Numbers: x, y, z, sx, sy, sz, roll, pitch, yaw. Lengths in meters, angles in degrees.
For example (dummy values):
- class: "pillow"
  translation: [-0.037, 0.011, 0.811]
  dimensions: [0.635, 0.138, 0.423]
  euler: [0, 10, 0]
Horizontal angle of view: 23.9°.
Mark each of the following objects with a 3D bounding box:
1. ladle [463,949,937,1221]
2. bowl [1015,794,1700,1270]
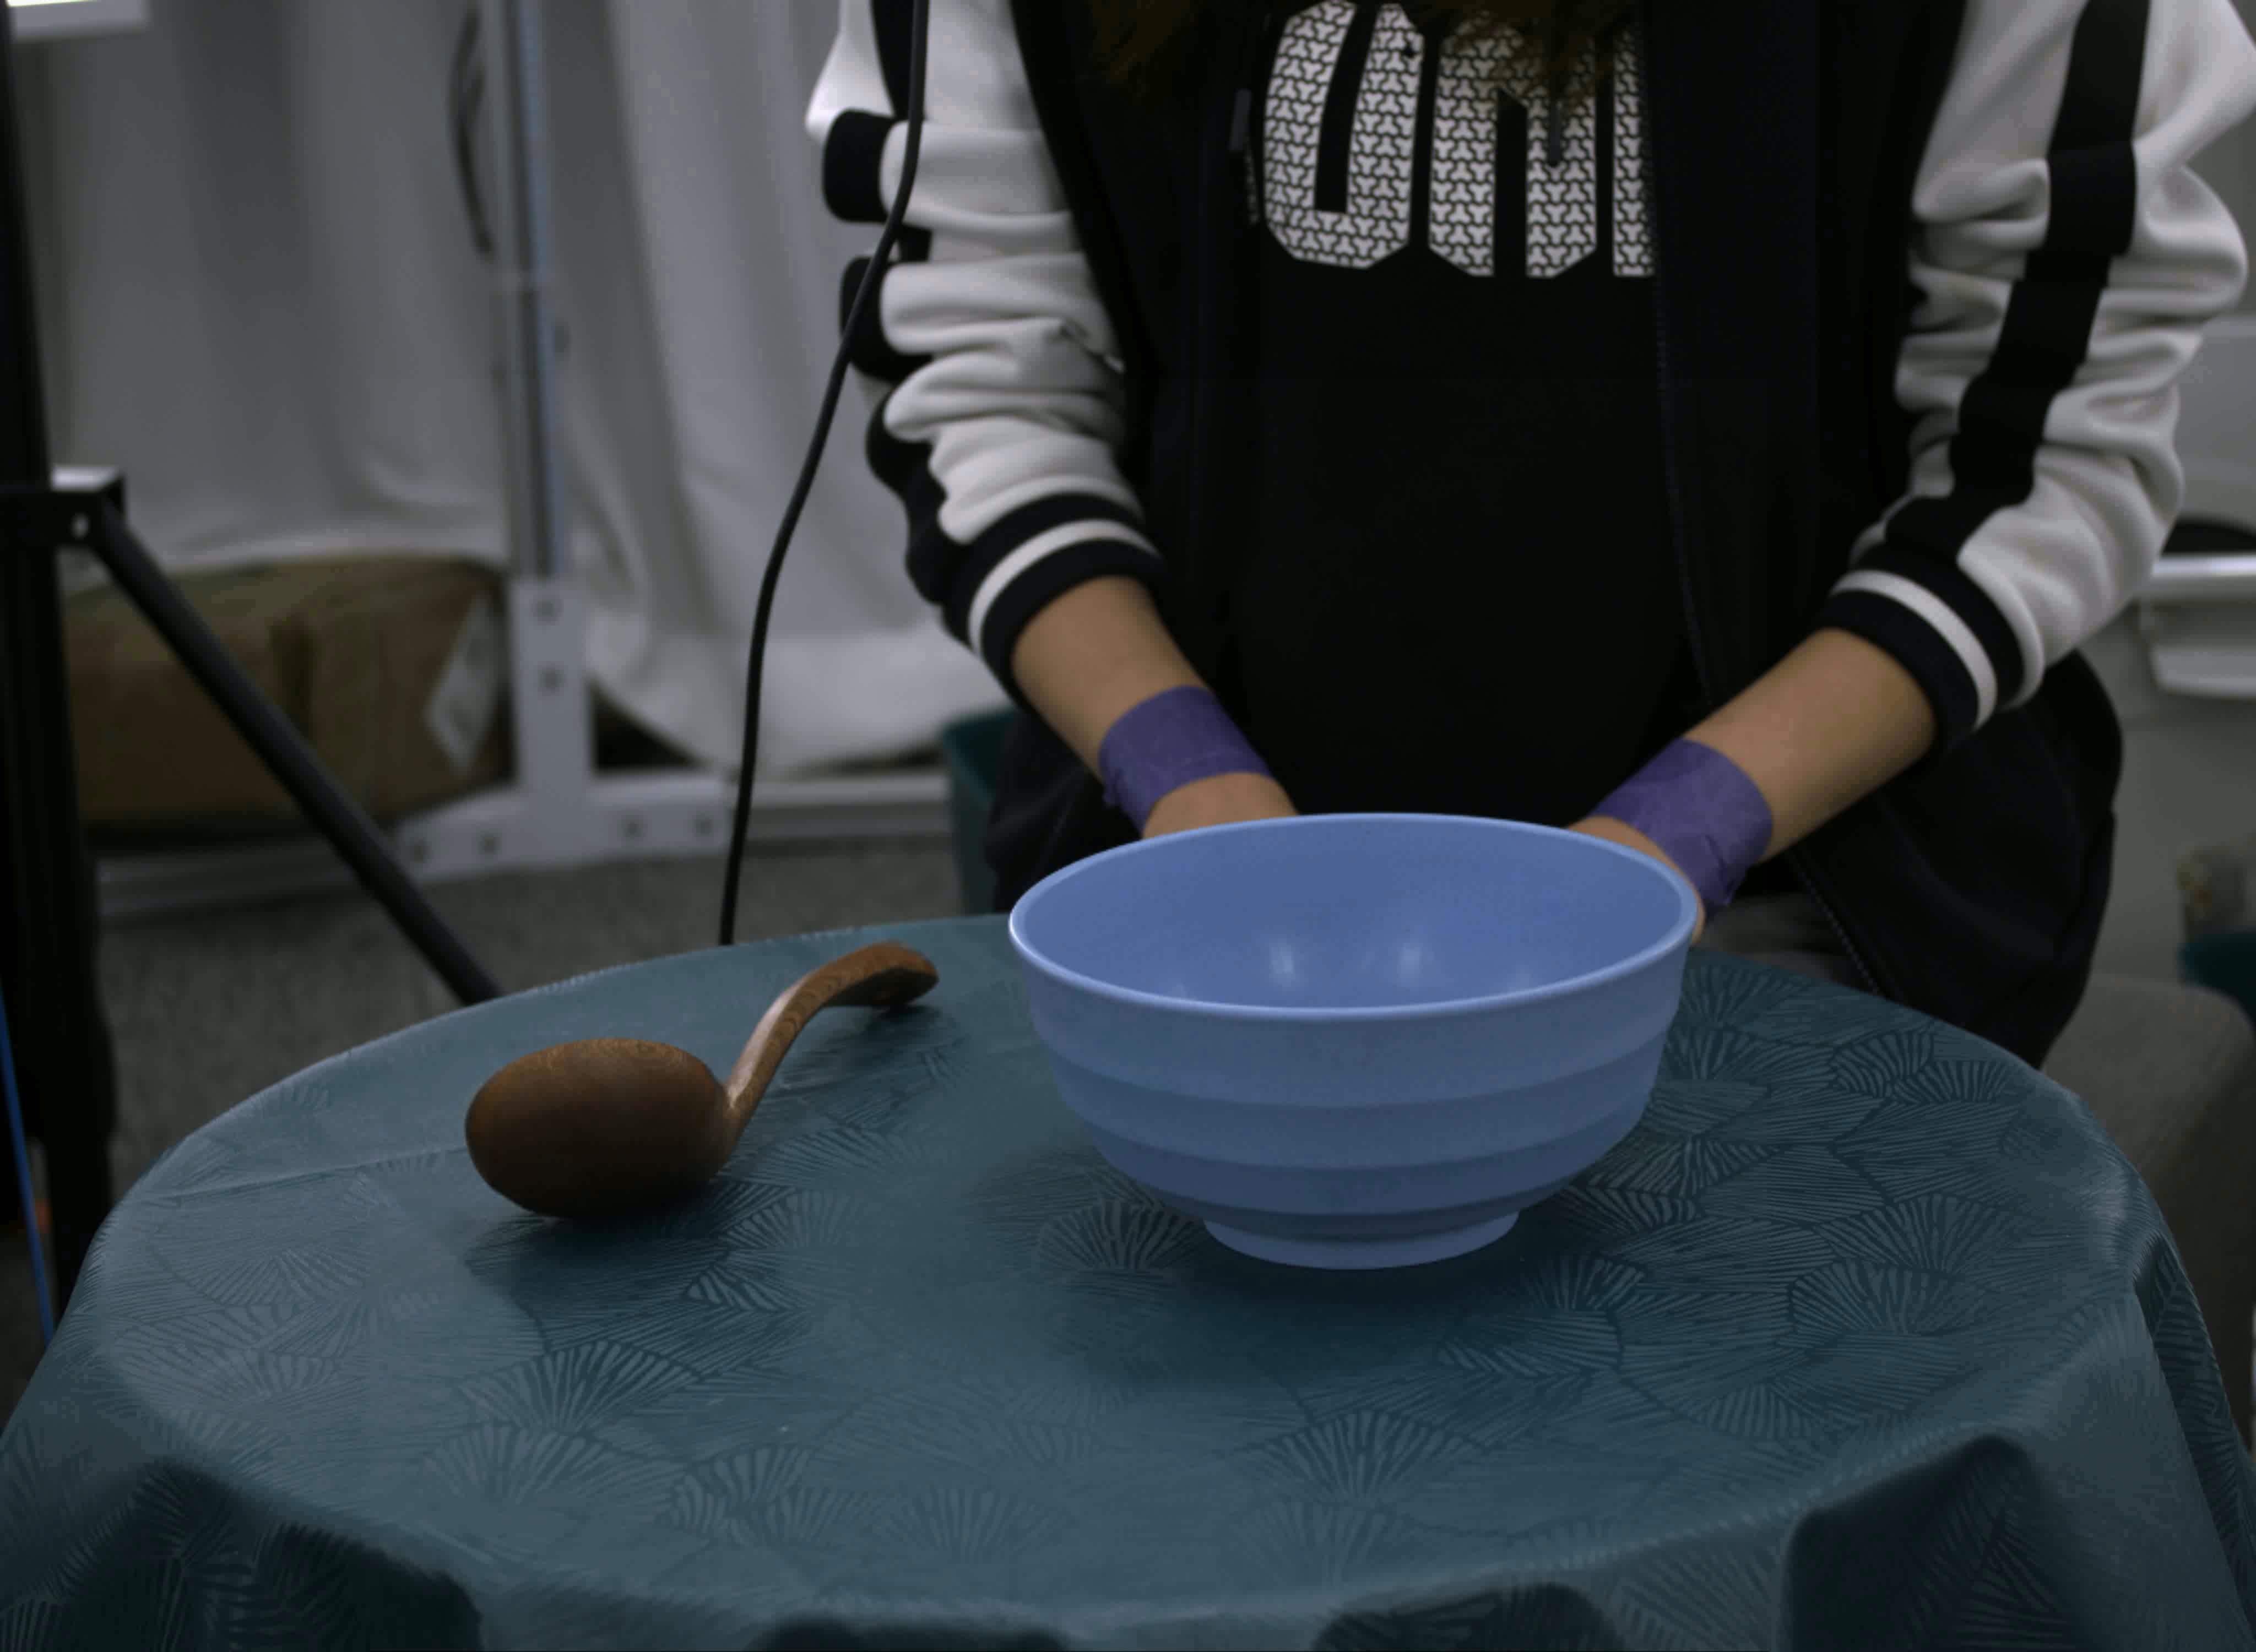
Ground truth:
- class: "ladle"
  translation: [-0.122, 0.062, 1.631]
  dimensions: [0.077, 0.065, 0.257]
  euler: [-26, 6, 25]
- class: "bowl"
  translation: [0.071, 0.066, 1.523]
  dimensions: [0.196, 0.095, 0.197]
  euler: [-8, 17, 1]
